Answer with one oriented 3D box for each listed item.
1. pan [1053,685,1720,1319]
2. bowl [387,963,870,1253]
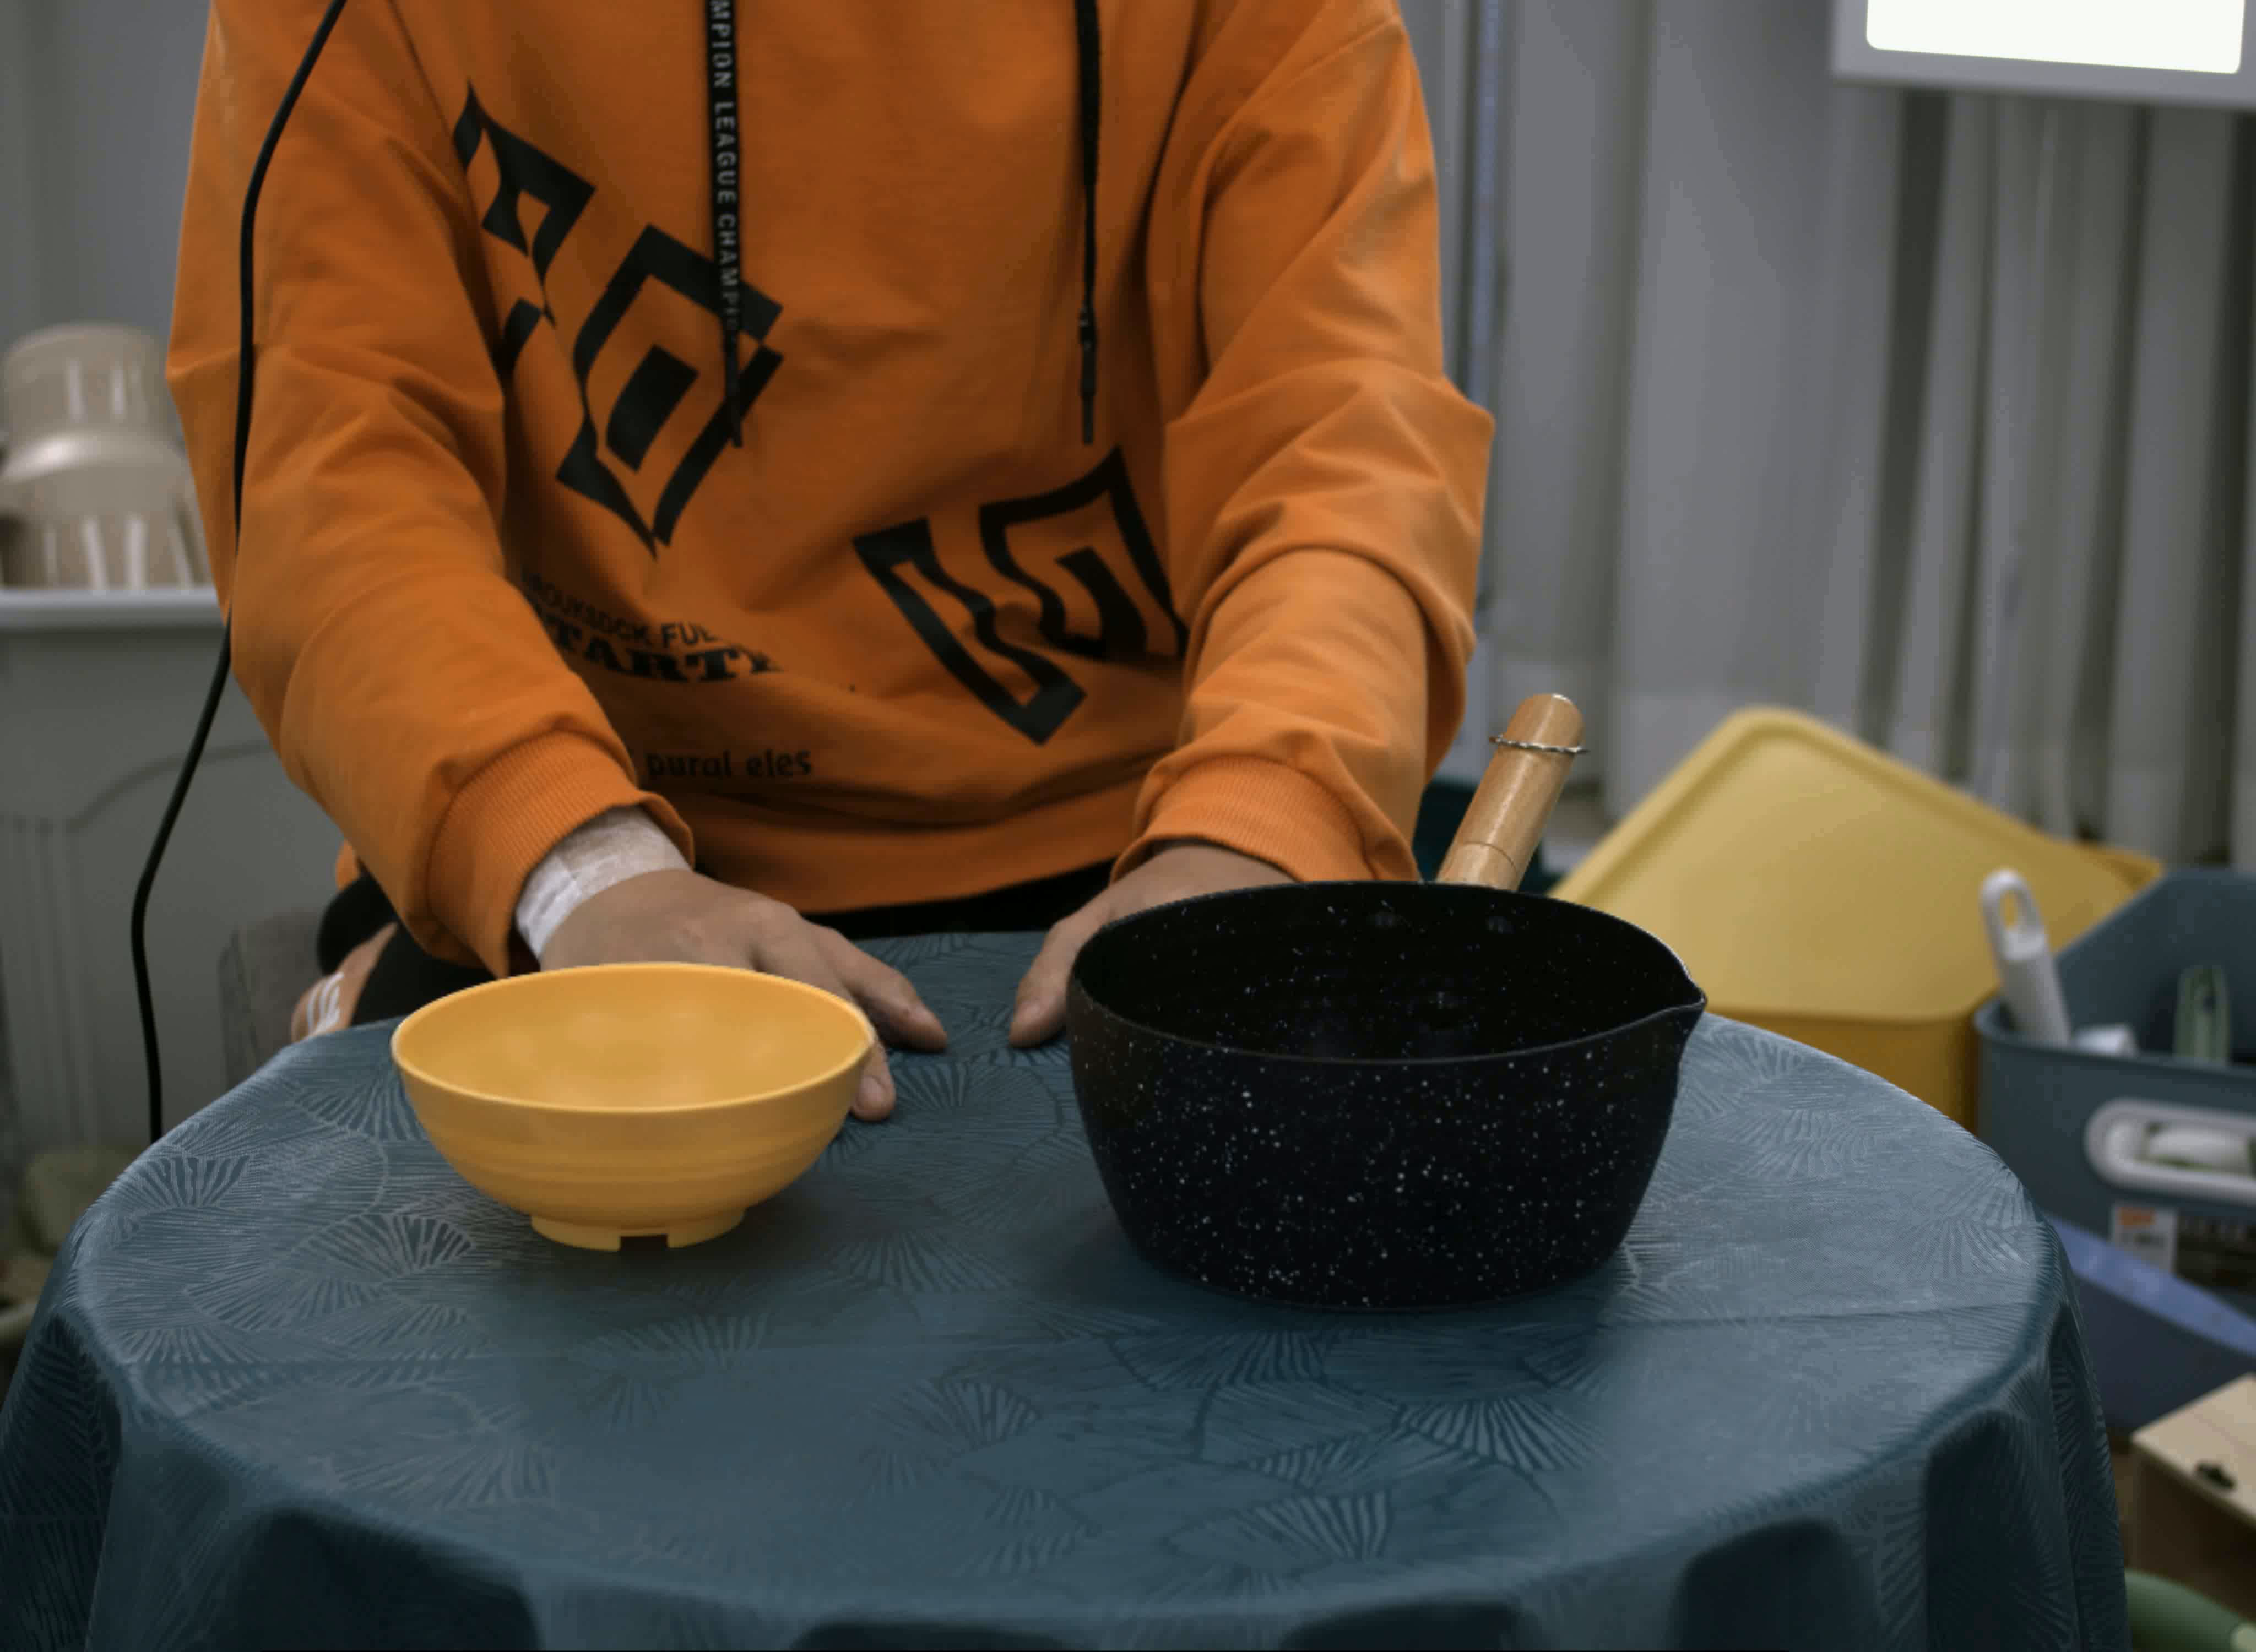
[{"bbox_3d":[0.095,0.050,1.648,0.206,0.109,0.342,3,17,15],"label":"pan"},{"bbox_3d":[-0.150,0.090,1.590,0.145,0.060,0.144,1,15,0],"label":"bowl"}]
